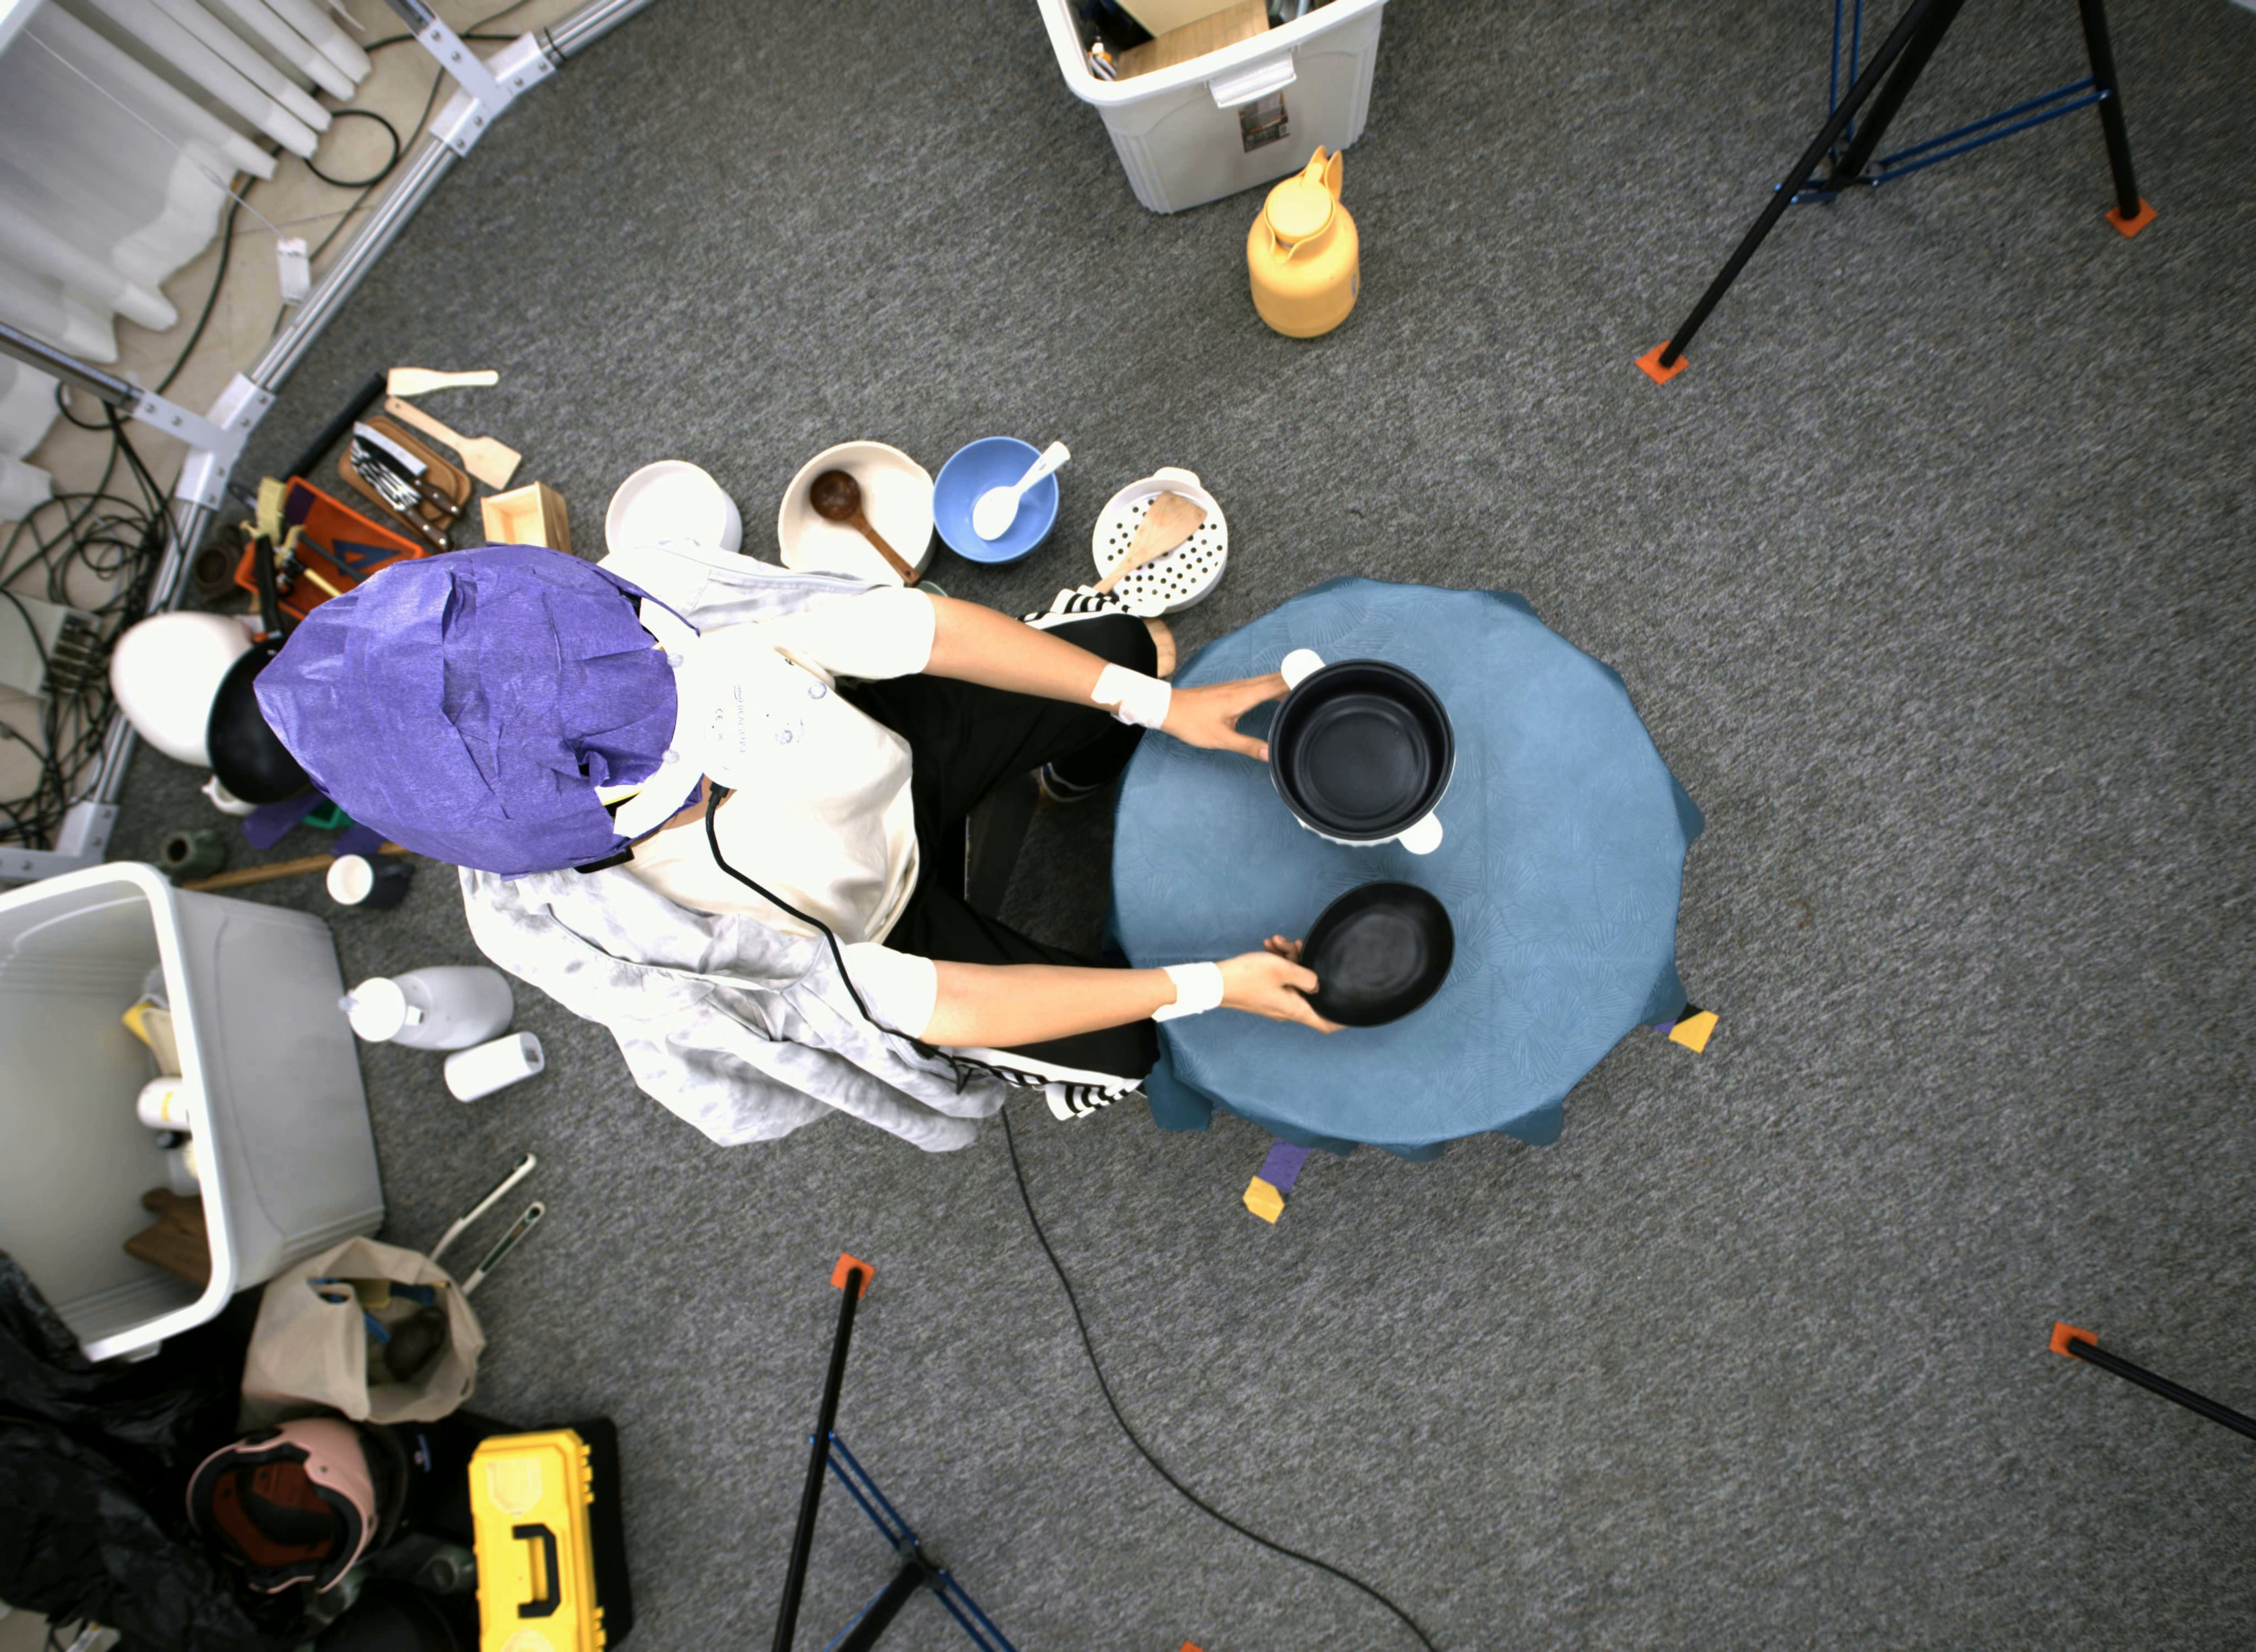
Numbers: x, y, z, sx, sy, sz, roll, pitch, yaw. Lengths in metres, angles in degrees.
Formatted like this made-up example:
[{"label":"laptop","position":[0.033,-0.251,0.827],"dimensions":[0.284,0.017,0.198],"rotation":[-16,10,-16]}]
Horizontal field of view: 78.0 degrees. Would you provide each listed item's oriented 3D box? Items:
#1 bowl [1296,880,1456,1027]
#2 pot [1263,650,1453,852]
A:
[{"label":"bowl","position":[0.254,0.132,1.414],"dimensions":[0.171,0.067,0.136],"rotation":[-39,77,5]},{"label":"pot","position":[0.240,-0.074,1.402],"dimensions":[0.192,0.142,0.239],"rotation":[-37,81,9]}]
